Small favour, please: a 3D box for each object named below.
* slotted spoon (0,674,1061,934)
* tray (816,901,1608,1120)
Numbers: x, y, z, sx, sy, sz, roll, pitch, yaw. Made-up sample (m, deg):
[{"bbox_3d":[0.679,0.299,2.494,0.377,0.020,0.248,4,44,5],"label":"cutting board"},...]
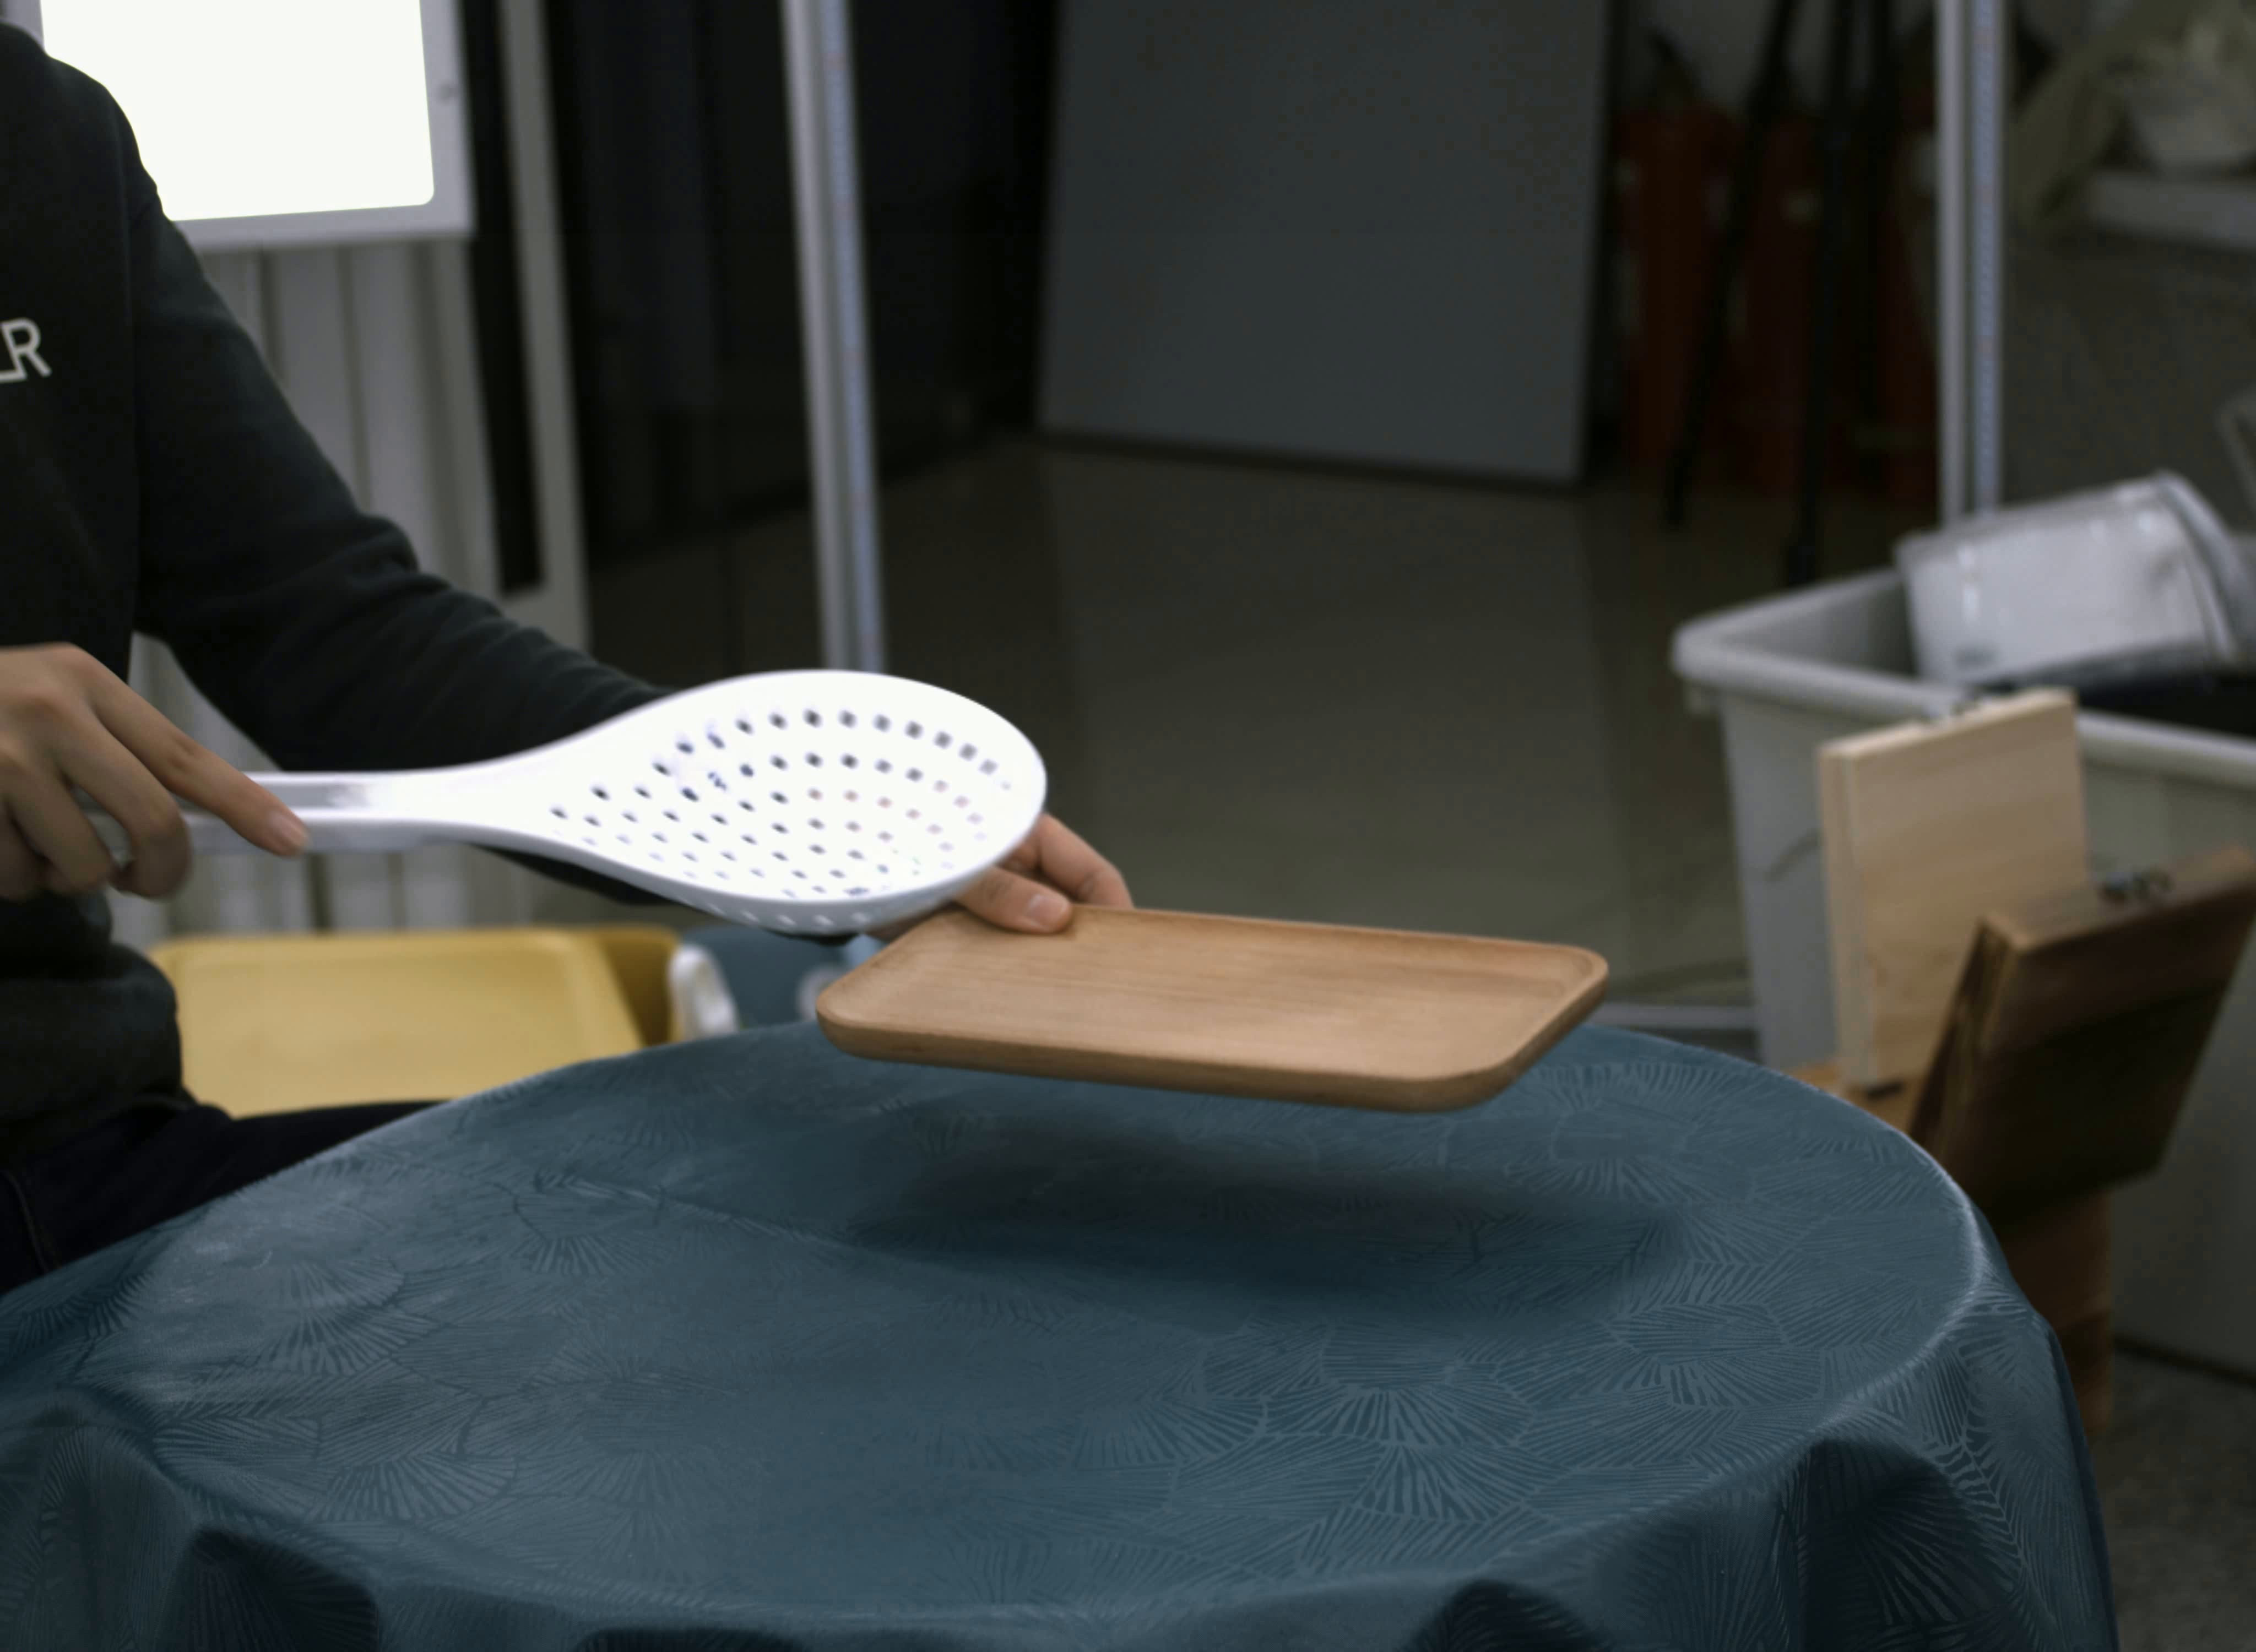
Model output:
[{"bbox_3d":[-0.194,-0.004,1.609,0.344,0.046,0.137,3,29,-4],"label":"slotted spoon"},{"bbox_3d":[0.026,0.059,1.747,0.251,0.023,0.129,3,18,30],"label":"tray"}]
